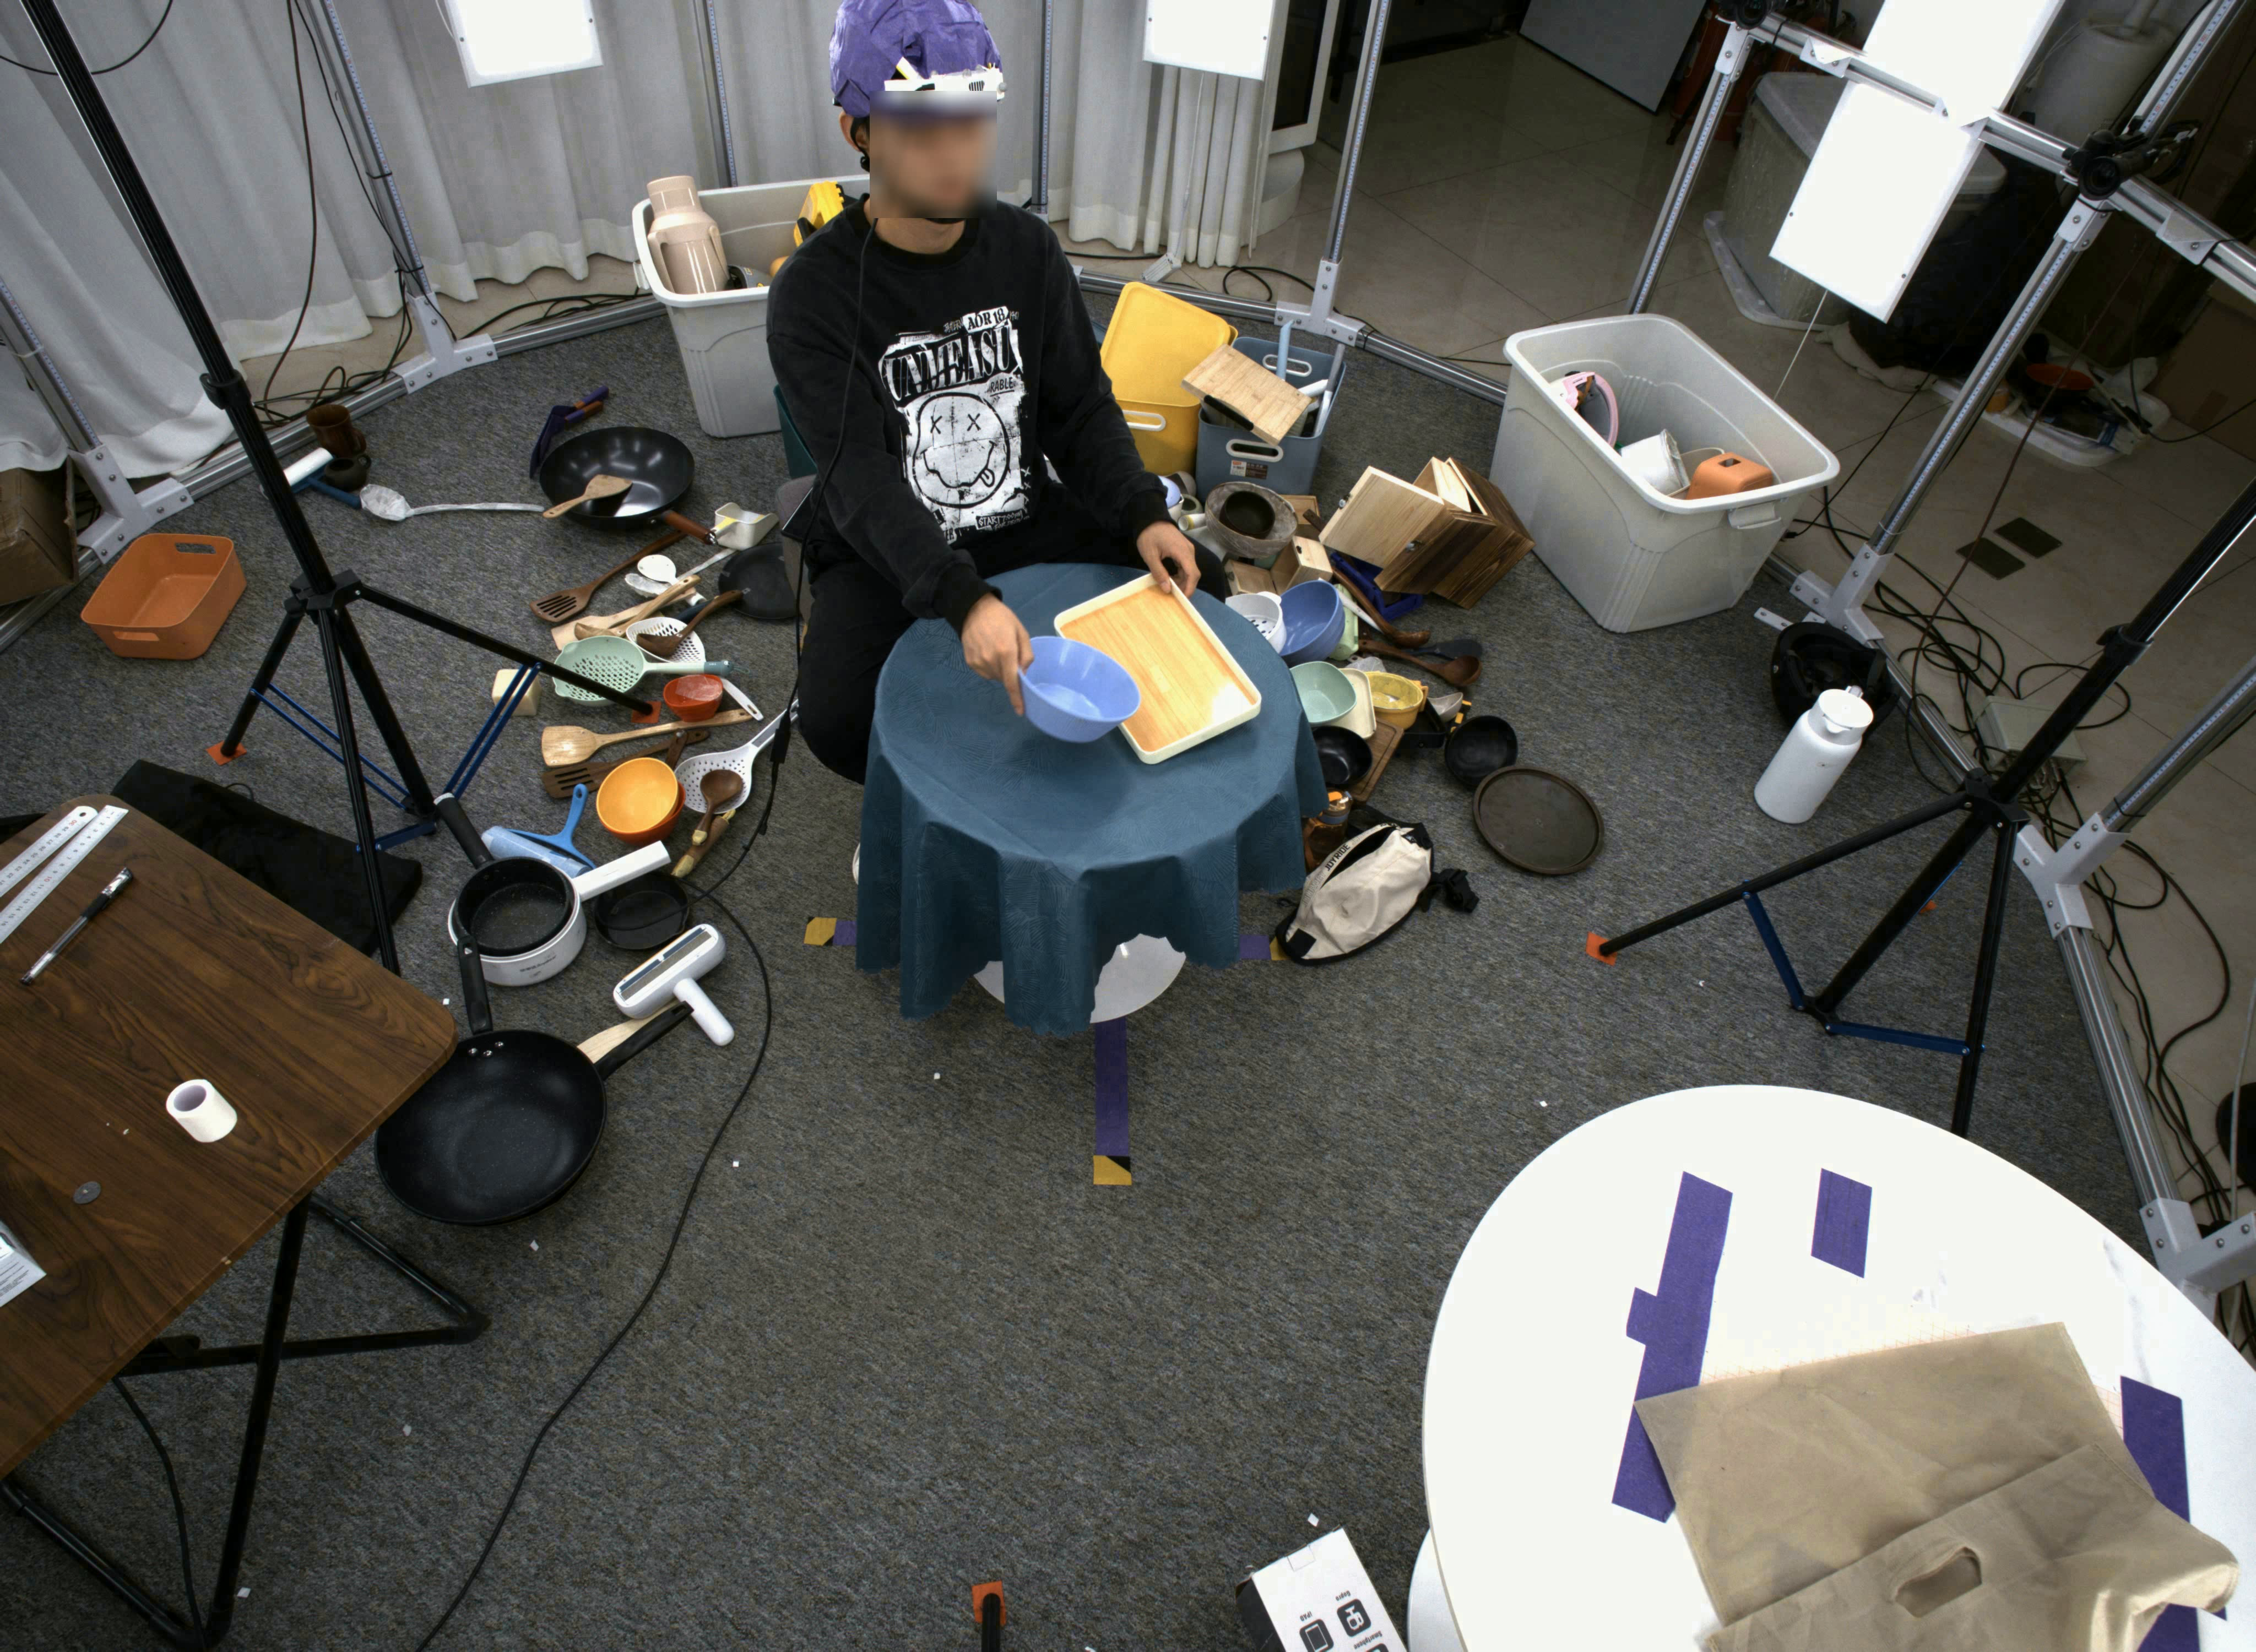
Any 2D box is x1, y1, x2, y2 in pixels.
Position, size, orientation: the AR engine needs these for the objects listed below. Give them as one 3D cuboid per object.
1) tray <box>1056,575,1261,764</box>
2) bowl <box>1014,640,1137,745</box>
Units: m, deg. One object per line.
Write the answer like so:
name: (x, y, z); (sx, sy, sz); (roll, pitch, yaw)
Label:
tray: (0.040, -0.231, 1.847); (0.192, 0.027, 0.307); (-25, 56, -11)
bowl: (-0.080, -0.170, 1.716); (0.175, 0.069, 0.180); (18, 36, -14)
